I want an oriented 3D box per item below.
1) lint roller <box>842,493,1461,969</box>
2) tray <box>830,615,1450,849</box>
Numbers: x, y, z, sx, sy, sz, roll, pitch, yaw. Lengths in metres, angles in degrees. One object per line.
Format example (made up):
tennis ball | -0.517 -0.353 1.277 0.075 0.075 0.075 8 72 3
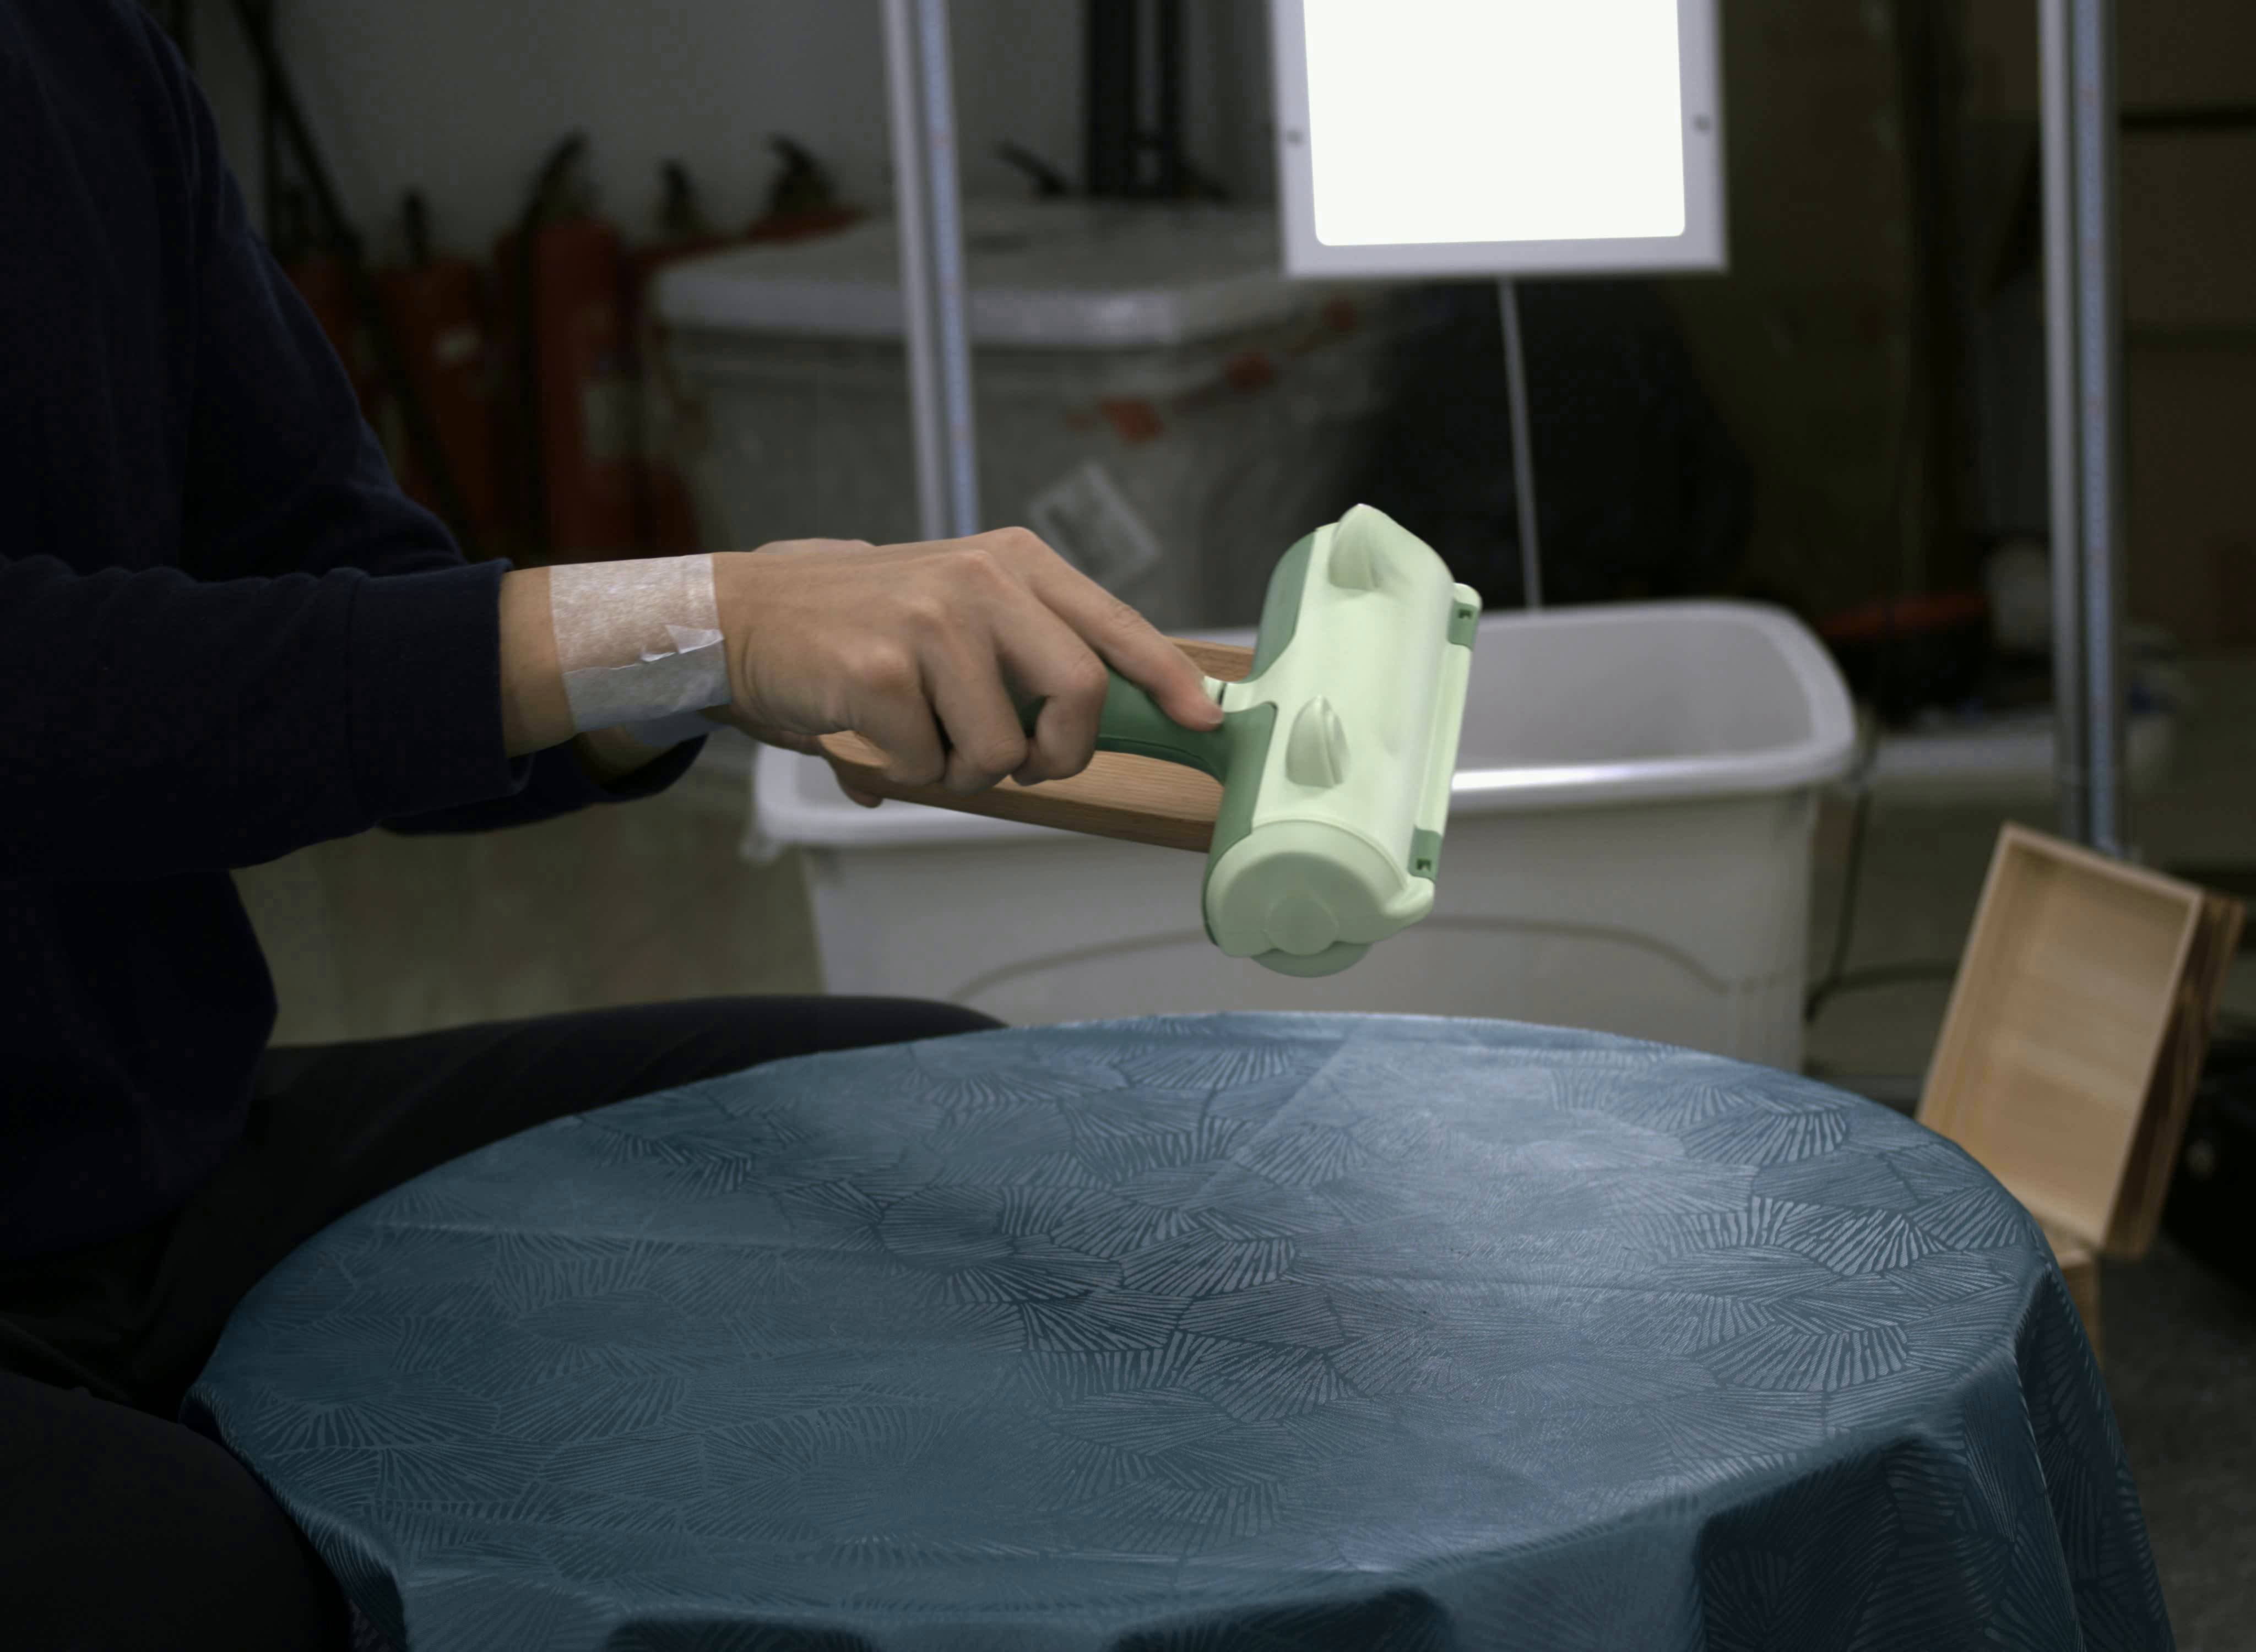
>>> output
lint roller | 0.009 -0.053 1.666 0.182 0.083 0.197 18 33 -3
tray | 0.002 -0.031 1.776 0.236 0.020 0.099 11 39 39
